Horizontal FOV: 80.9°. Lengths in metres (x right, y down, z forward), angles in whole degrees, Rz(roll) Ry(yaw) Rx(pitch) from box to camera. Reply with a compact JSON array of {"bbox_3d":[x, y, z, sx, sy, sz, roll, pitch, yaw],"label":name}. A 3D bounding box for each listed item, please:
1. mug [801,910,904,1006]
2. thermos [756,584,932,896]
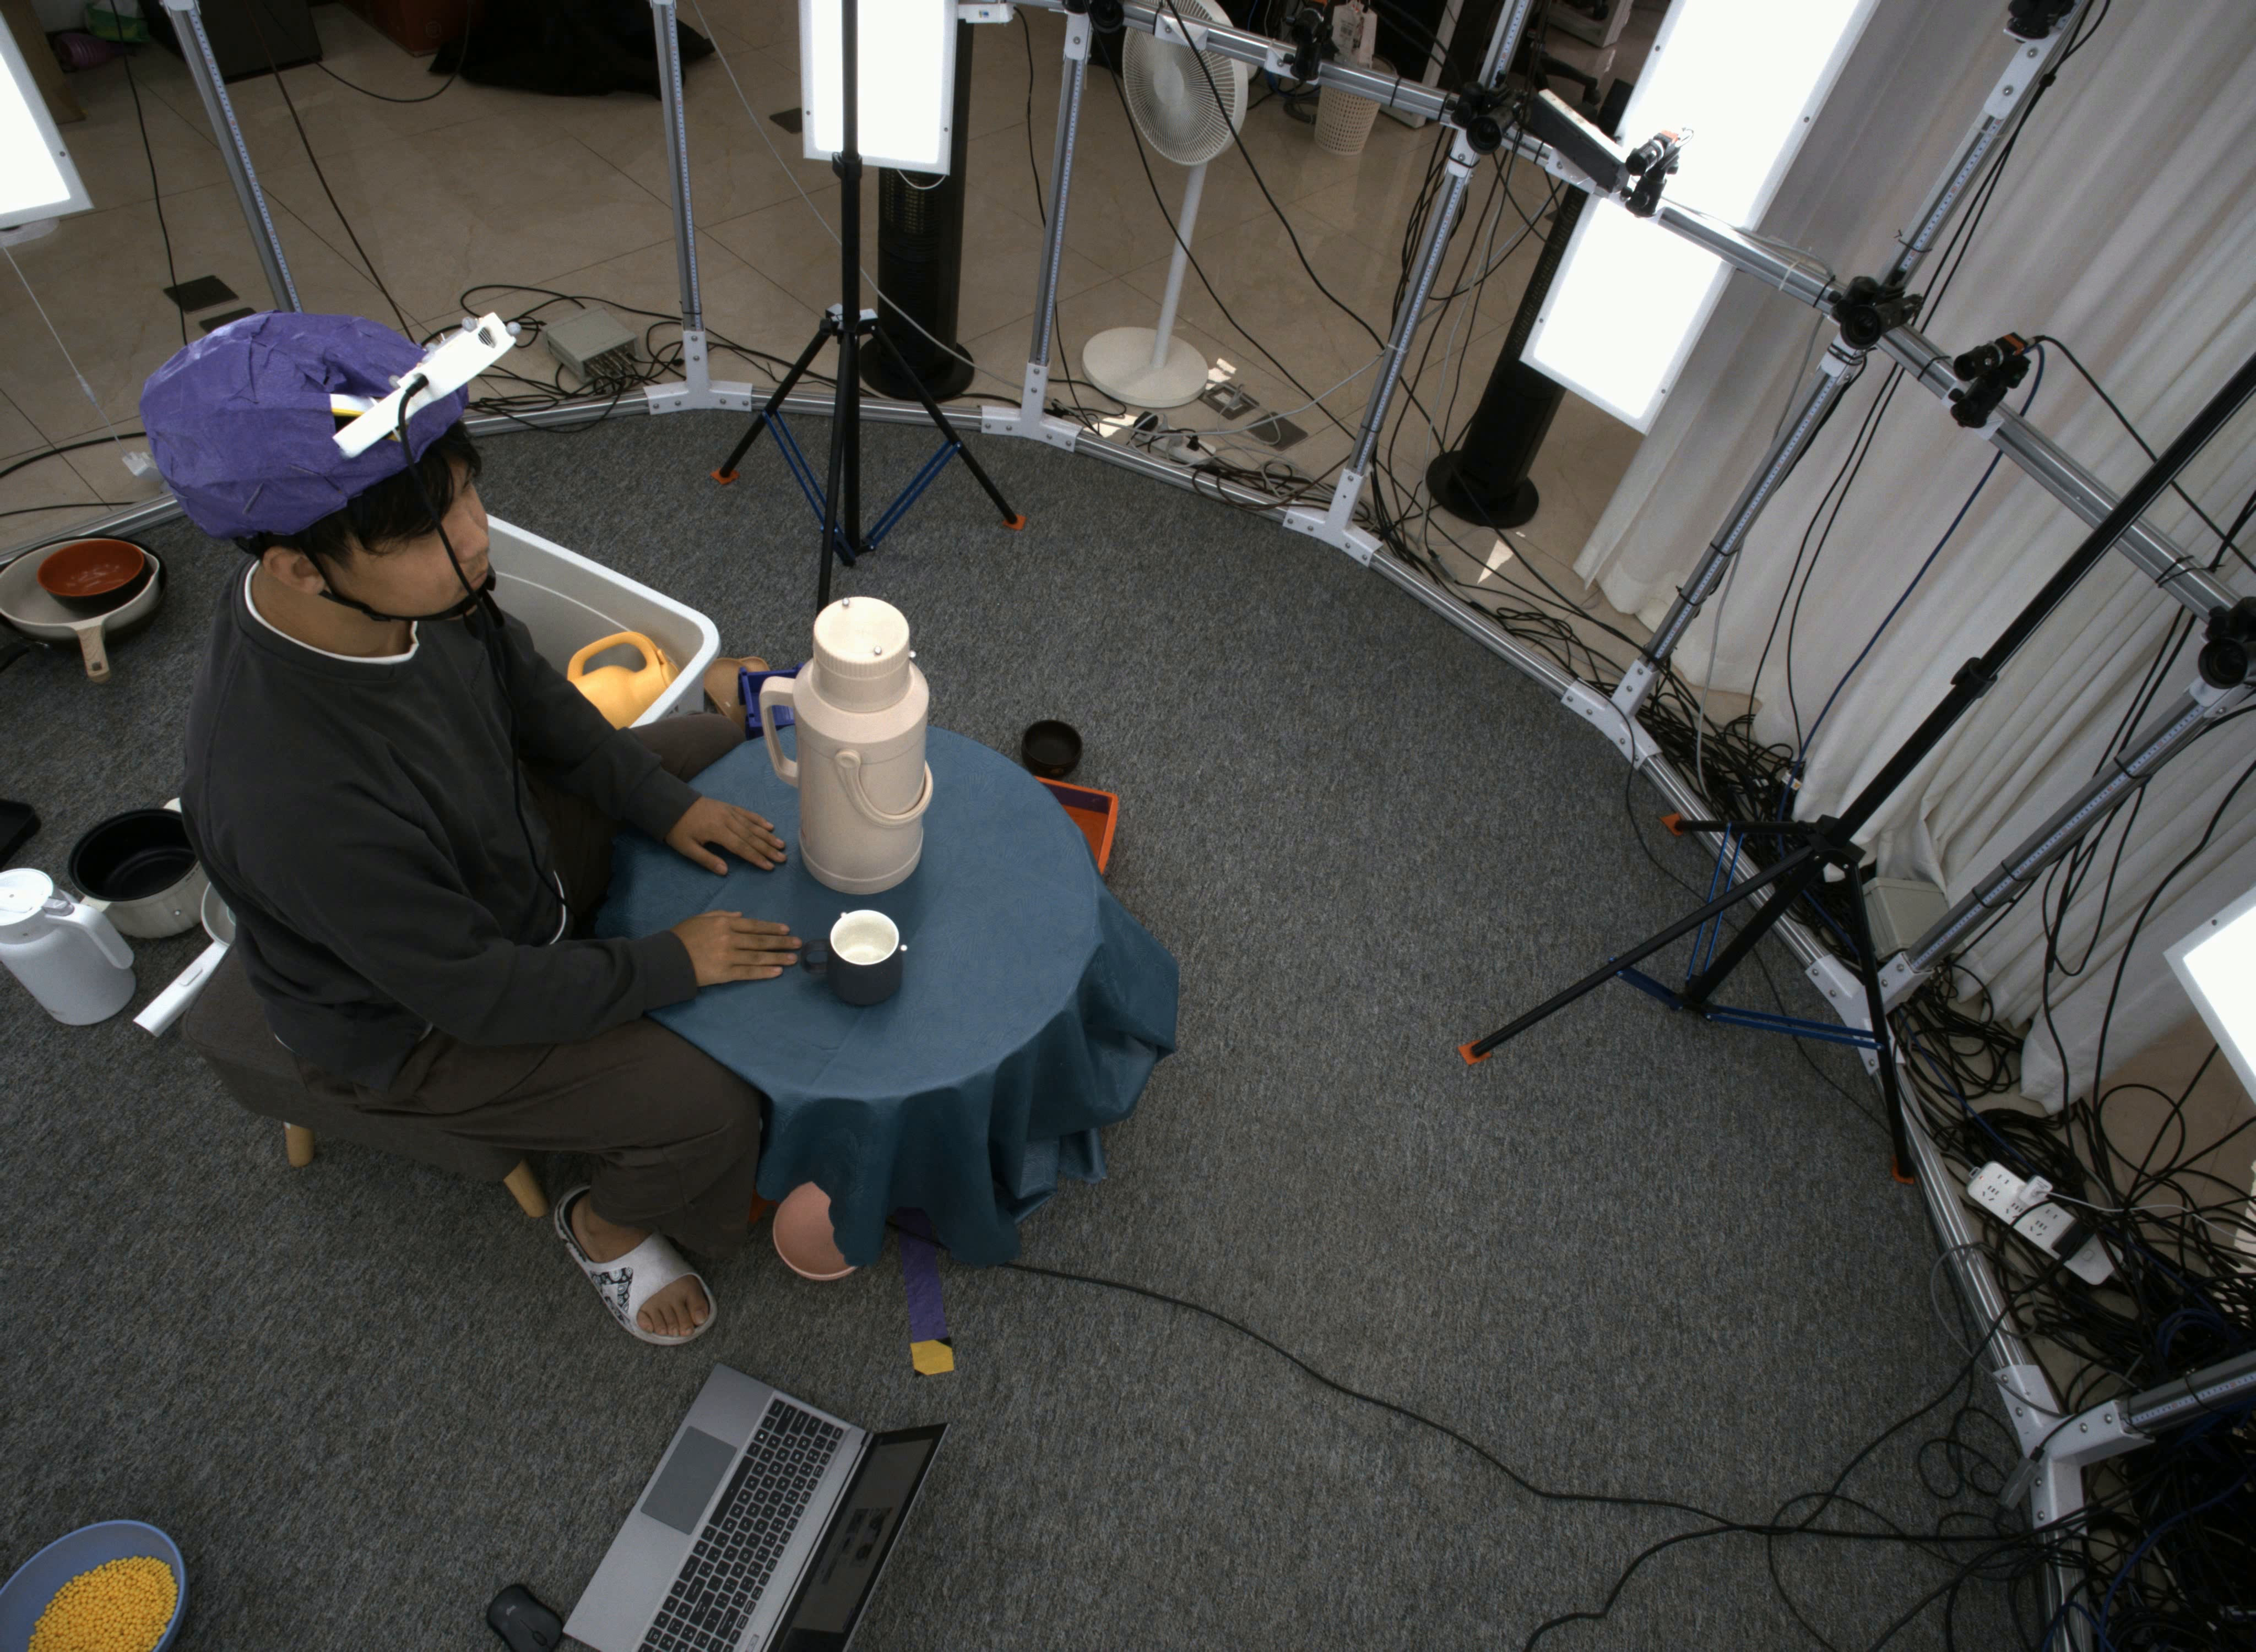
[{"bbox_3d":[-0.332,0.157,1.567,0.123,0.092,0.091,2,52,-12],"label":"mug"},{"bbox_3d":[-0.337,-0.101,1.561,0.206,0.415,0.172,7,51,-6],"label":"thermos"}]
